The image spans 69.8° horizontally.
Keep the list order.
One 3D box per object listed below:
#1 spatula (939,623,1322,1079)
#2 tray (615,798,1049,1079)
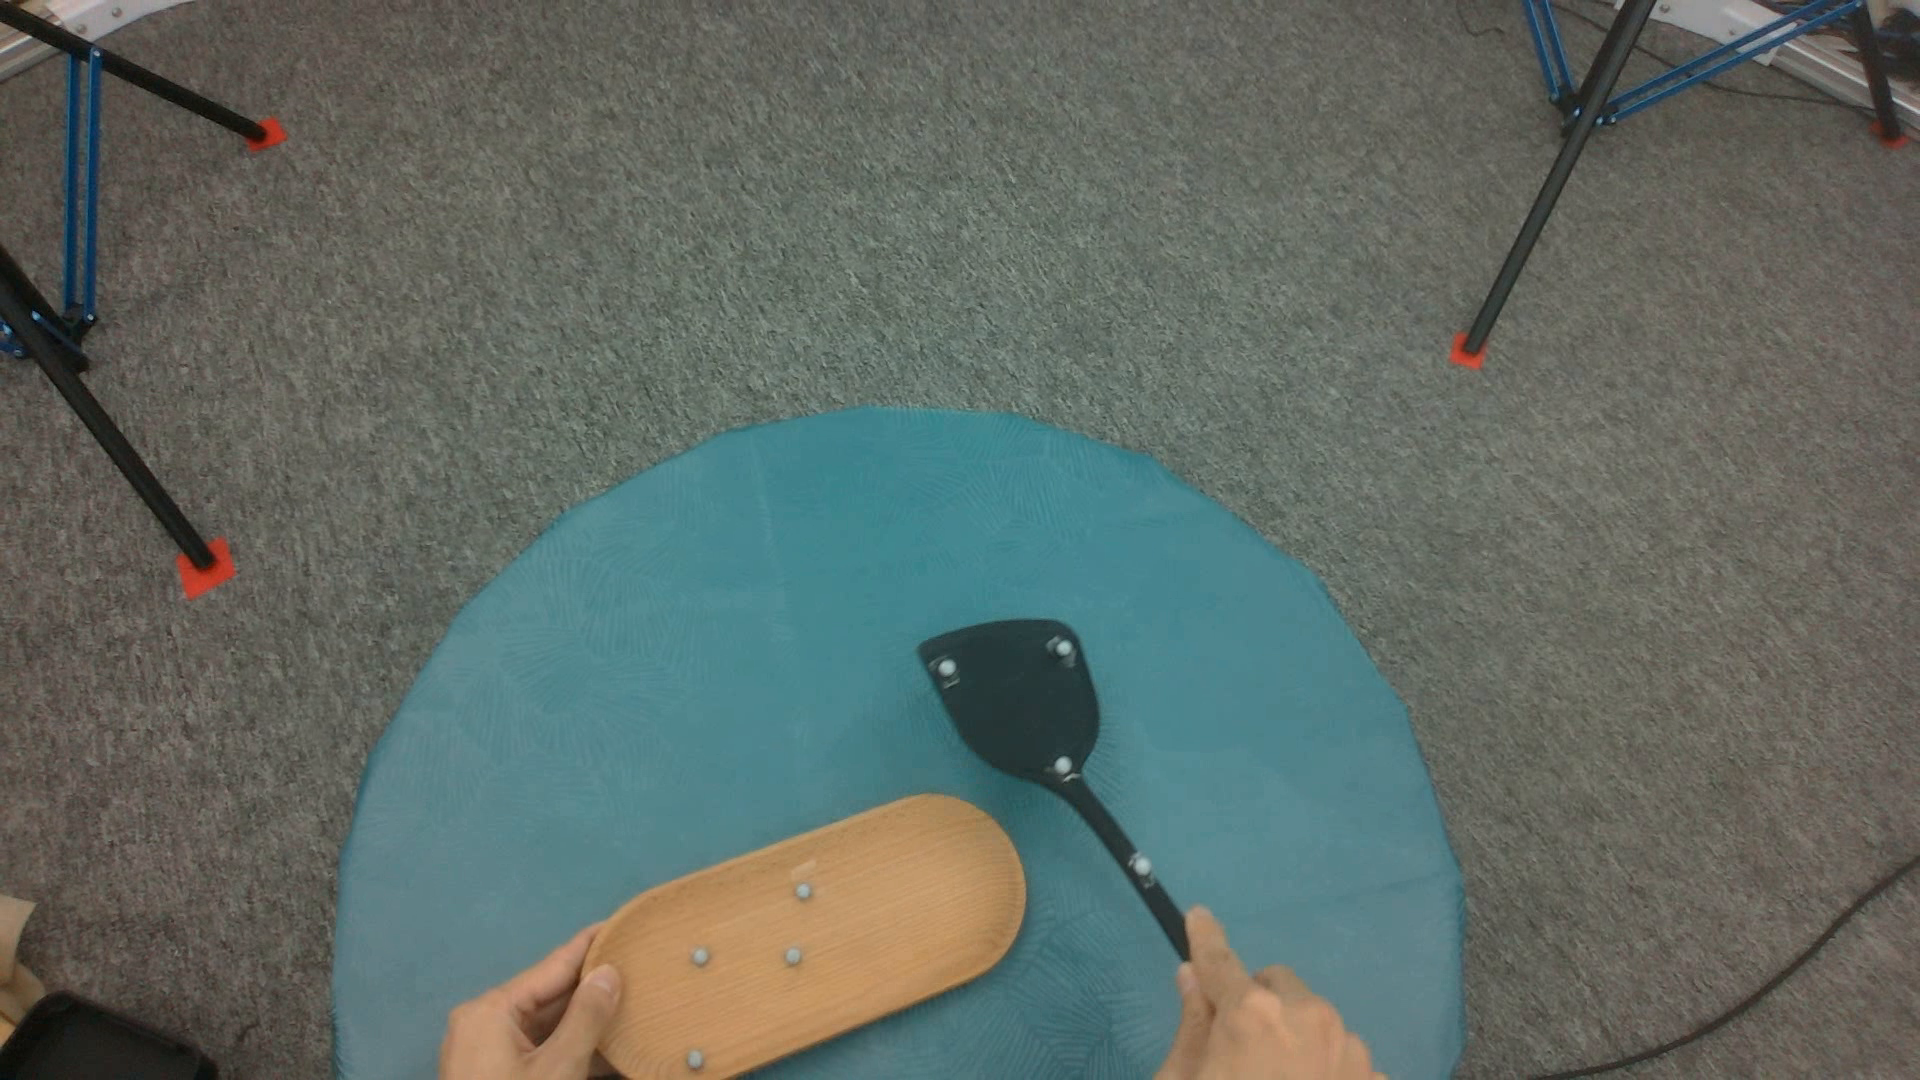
[{"bbox_3d":[0.095,0.156,0.655,0.100,0.040,0.327,-8,39,-27],"label":"spatula"},{"bbox_3d":[-0.063,0.206,0.718,0.232,0.020,0.102,-16,62,-19],"label":"tray"}]
